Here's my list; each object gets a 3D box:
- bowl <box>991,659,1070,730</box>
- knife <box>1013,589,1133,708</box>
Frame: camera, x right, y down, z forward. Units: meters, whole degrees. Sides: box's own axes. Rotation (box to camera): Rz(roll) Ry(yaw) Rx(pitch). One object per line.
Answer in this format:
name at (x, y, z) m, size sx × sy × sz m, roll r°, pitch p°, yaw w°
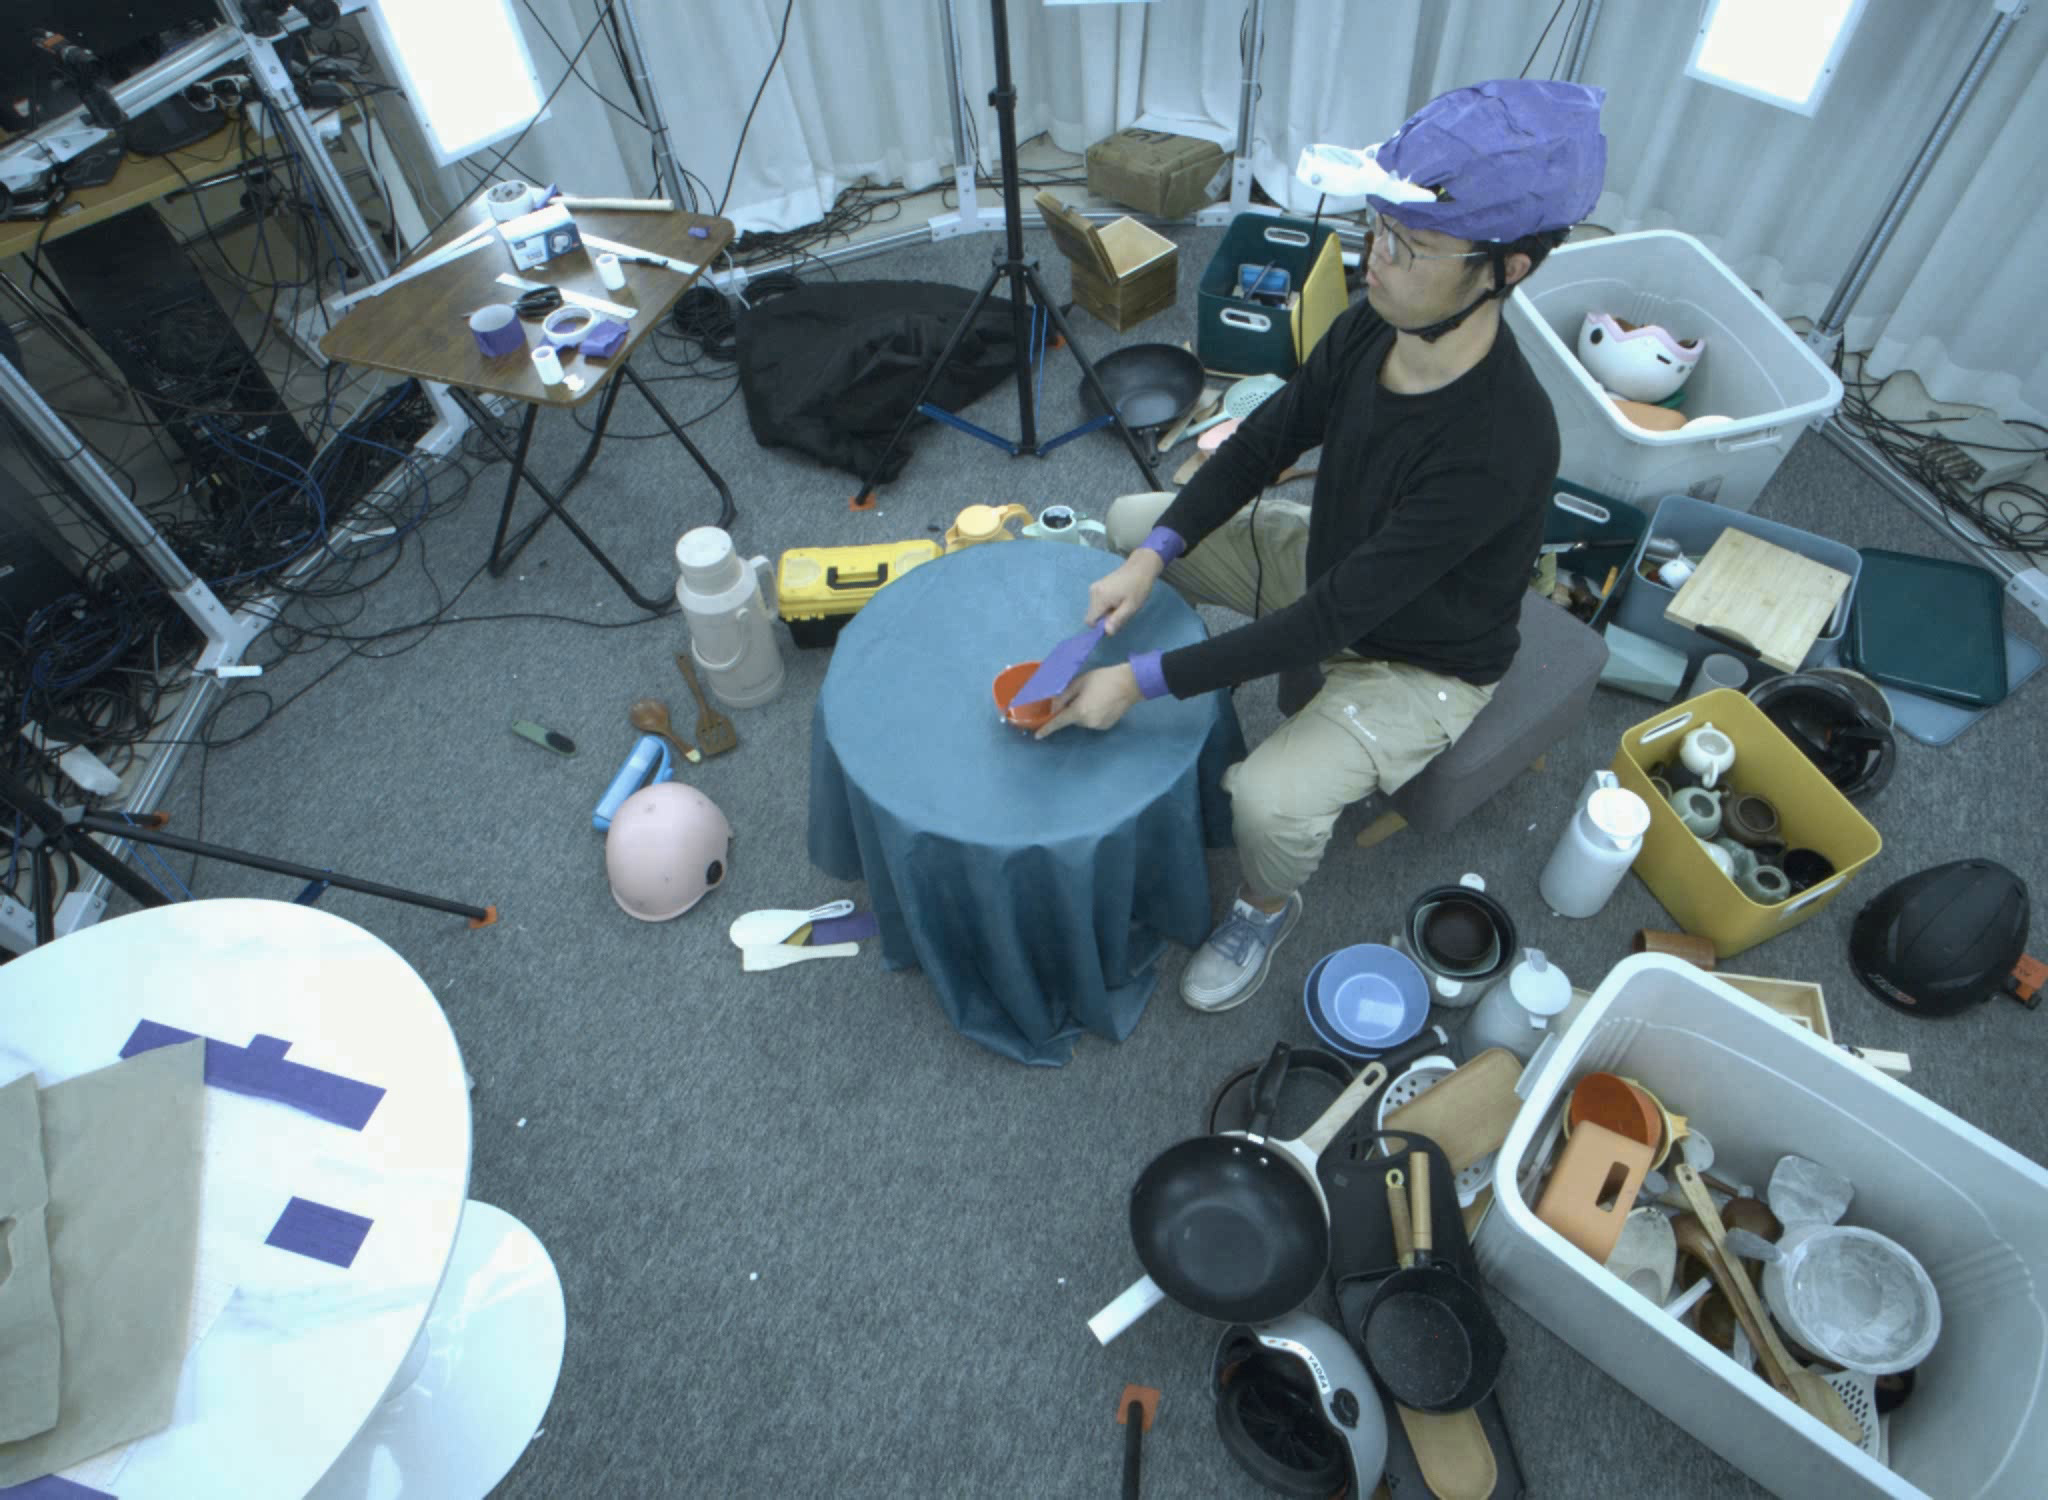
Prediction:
bowl at (0.011, -0.073, 1.800) m, size 0.119 × 0.052 × 0.118 m, roll -1°, pitch 55°, yaw 3°
knife at (0.070, -0.151, 1.796) m, size 0.102 × 0.032 × 0.316 m, roll -13°, pitch 24°, yaw 33°
